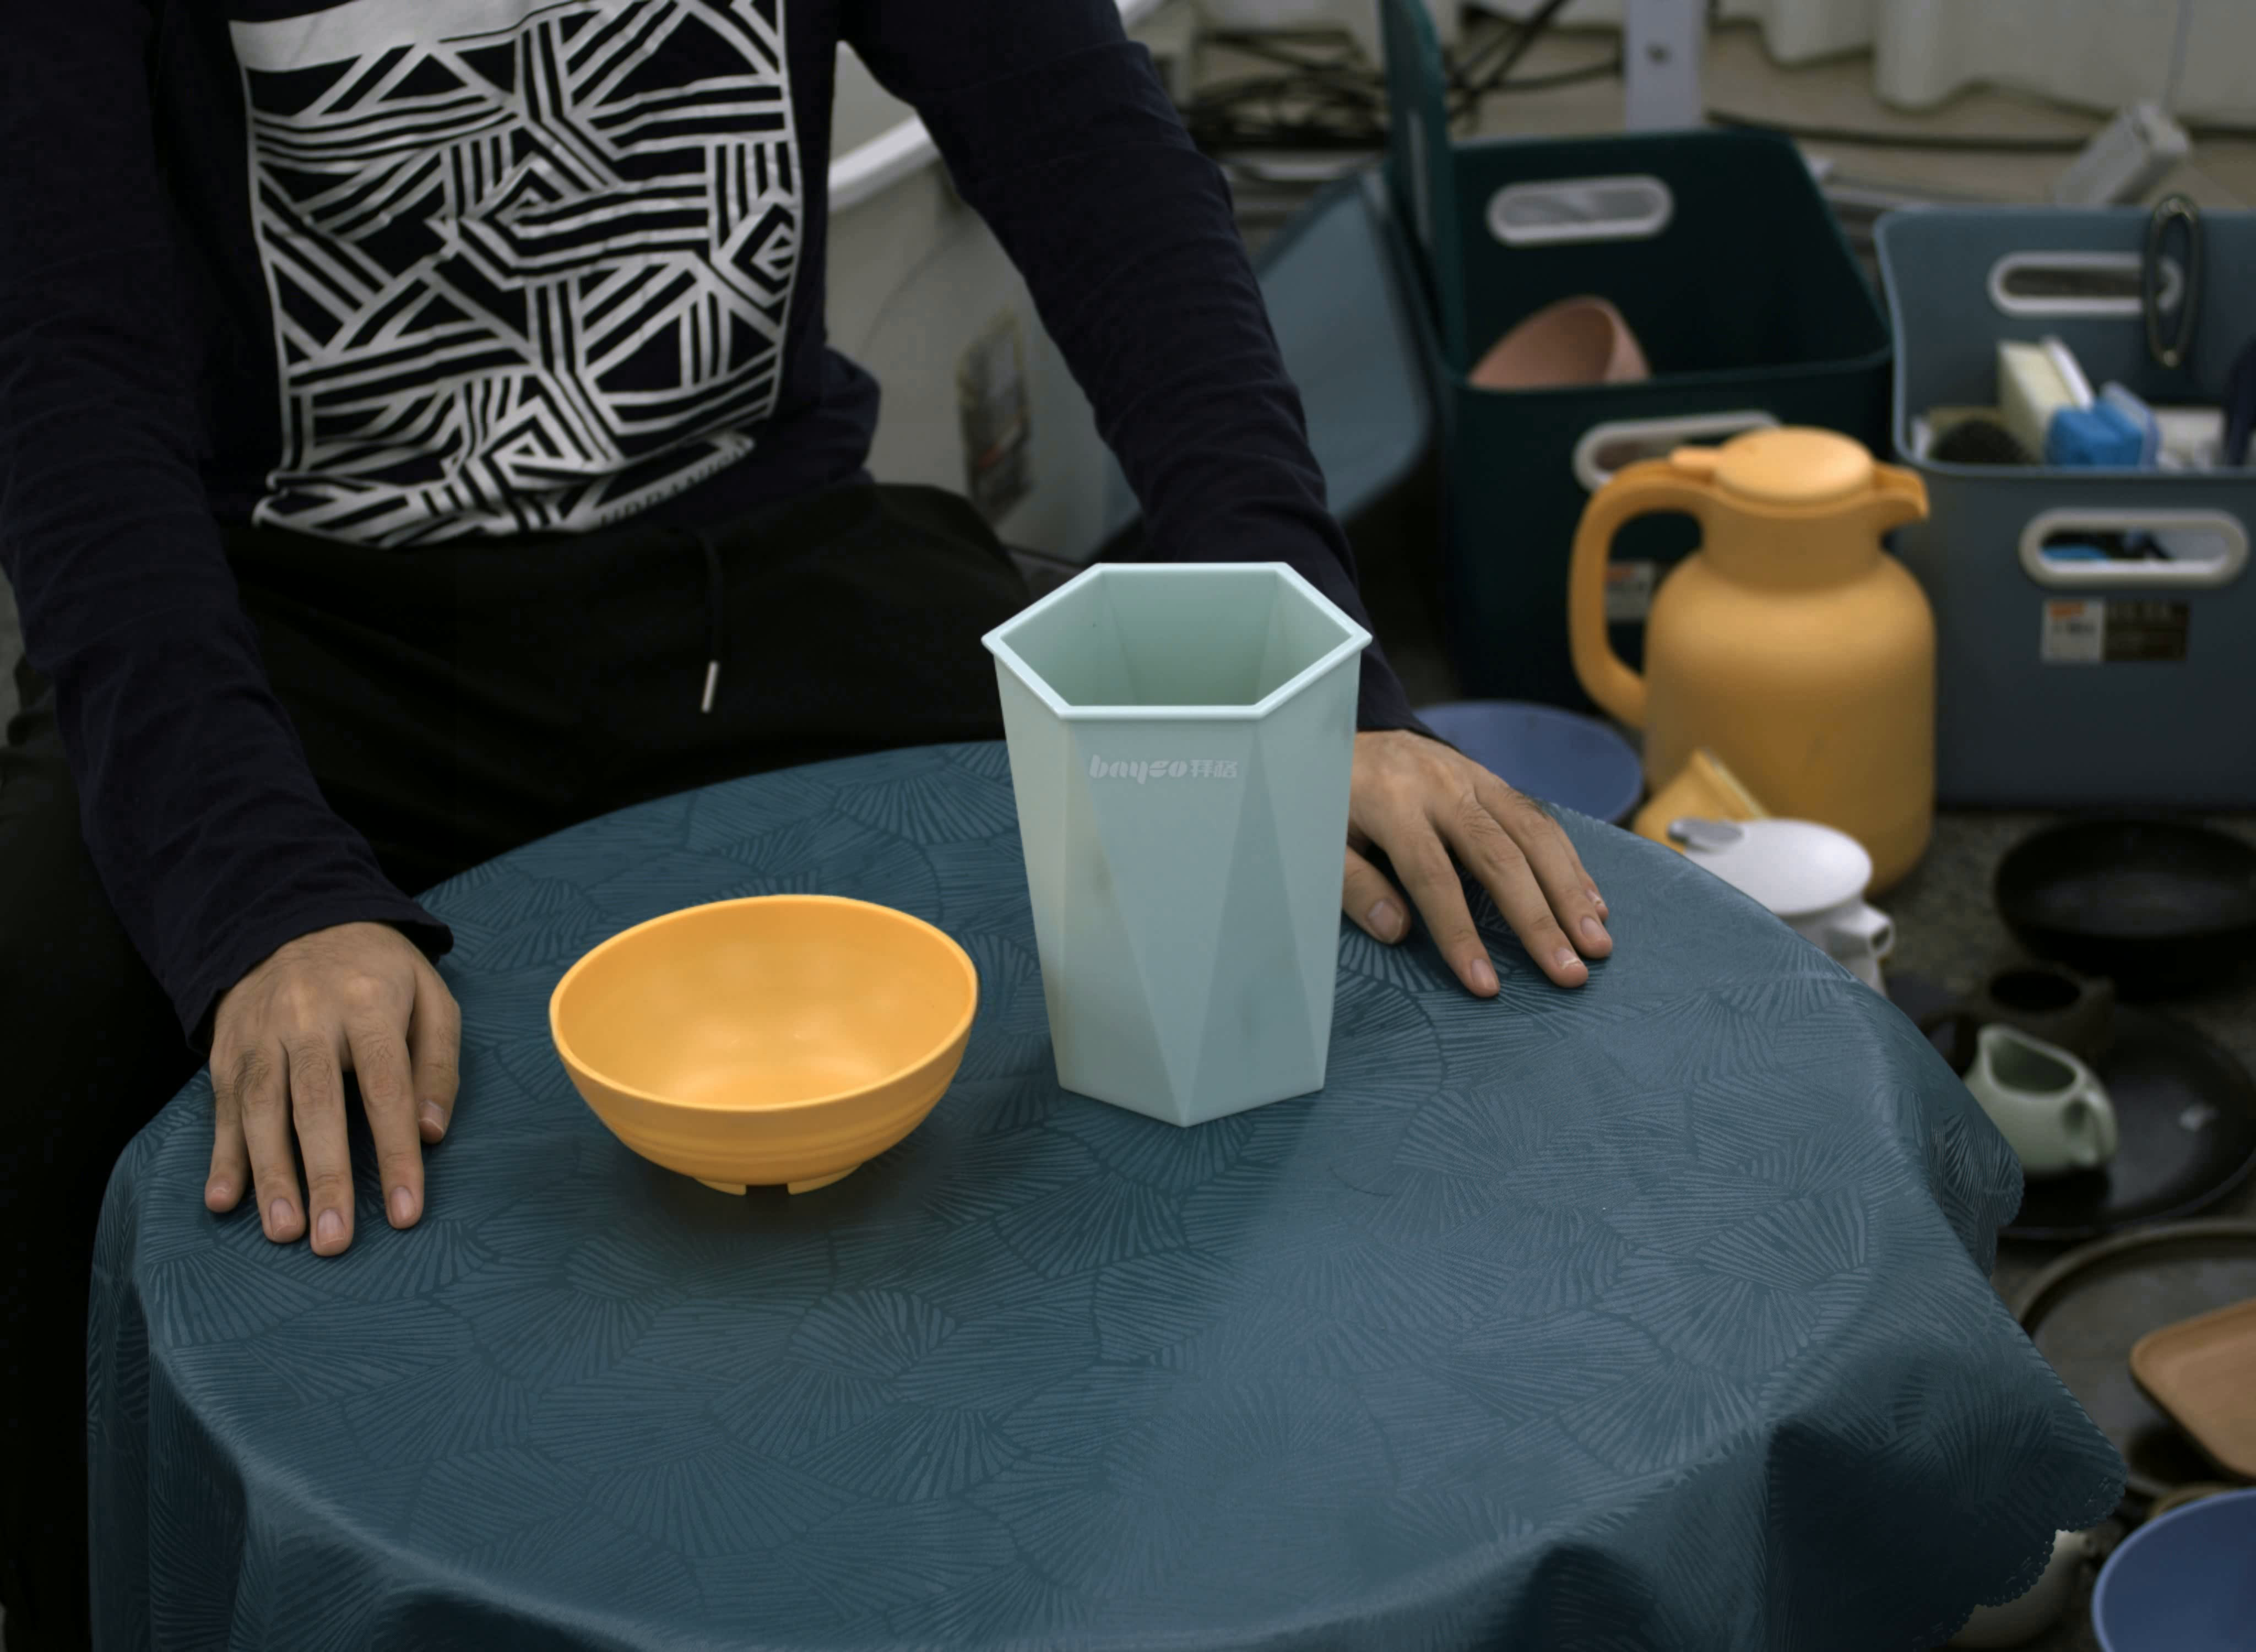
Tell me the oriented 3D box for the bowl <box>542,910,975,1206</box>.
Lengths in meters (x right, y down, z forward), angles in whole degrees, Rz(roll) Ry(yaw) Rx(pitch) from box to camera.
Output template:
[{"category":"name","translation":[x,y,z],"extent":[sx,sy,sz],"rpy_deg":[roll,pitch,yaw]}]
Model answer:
[{"category":"bowl","translation":[-0.122,0.086,1.883],"extent":[0.144,0.059,0.147],"rpy_deg":[-1,25,1]}]

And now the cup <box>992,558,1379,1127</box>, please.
[{"category":"cup","translation":[0.022,0.006,1.904],"extent":[0.130,0.161,0.117],"rpy_deg":[0,25,4]}]
